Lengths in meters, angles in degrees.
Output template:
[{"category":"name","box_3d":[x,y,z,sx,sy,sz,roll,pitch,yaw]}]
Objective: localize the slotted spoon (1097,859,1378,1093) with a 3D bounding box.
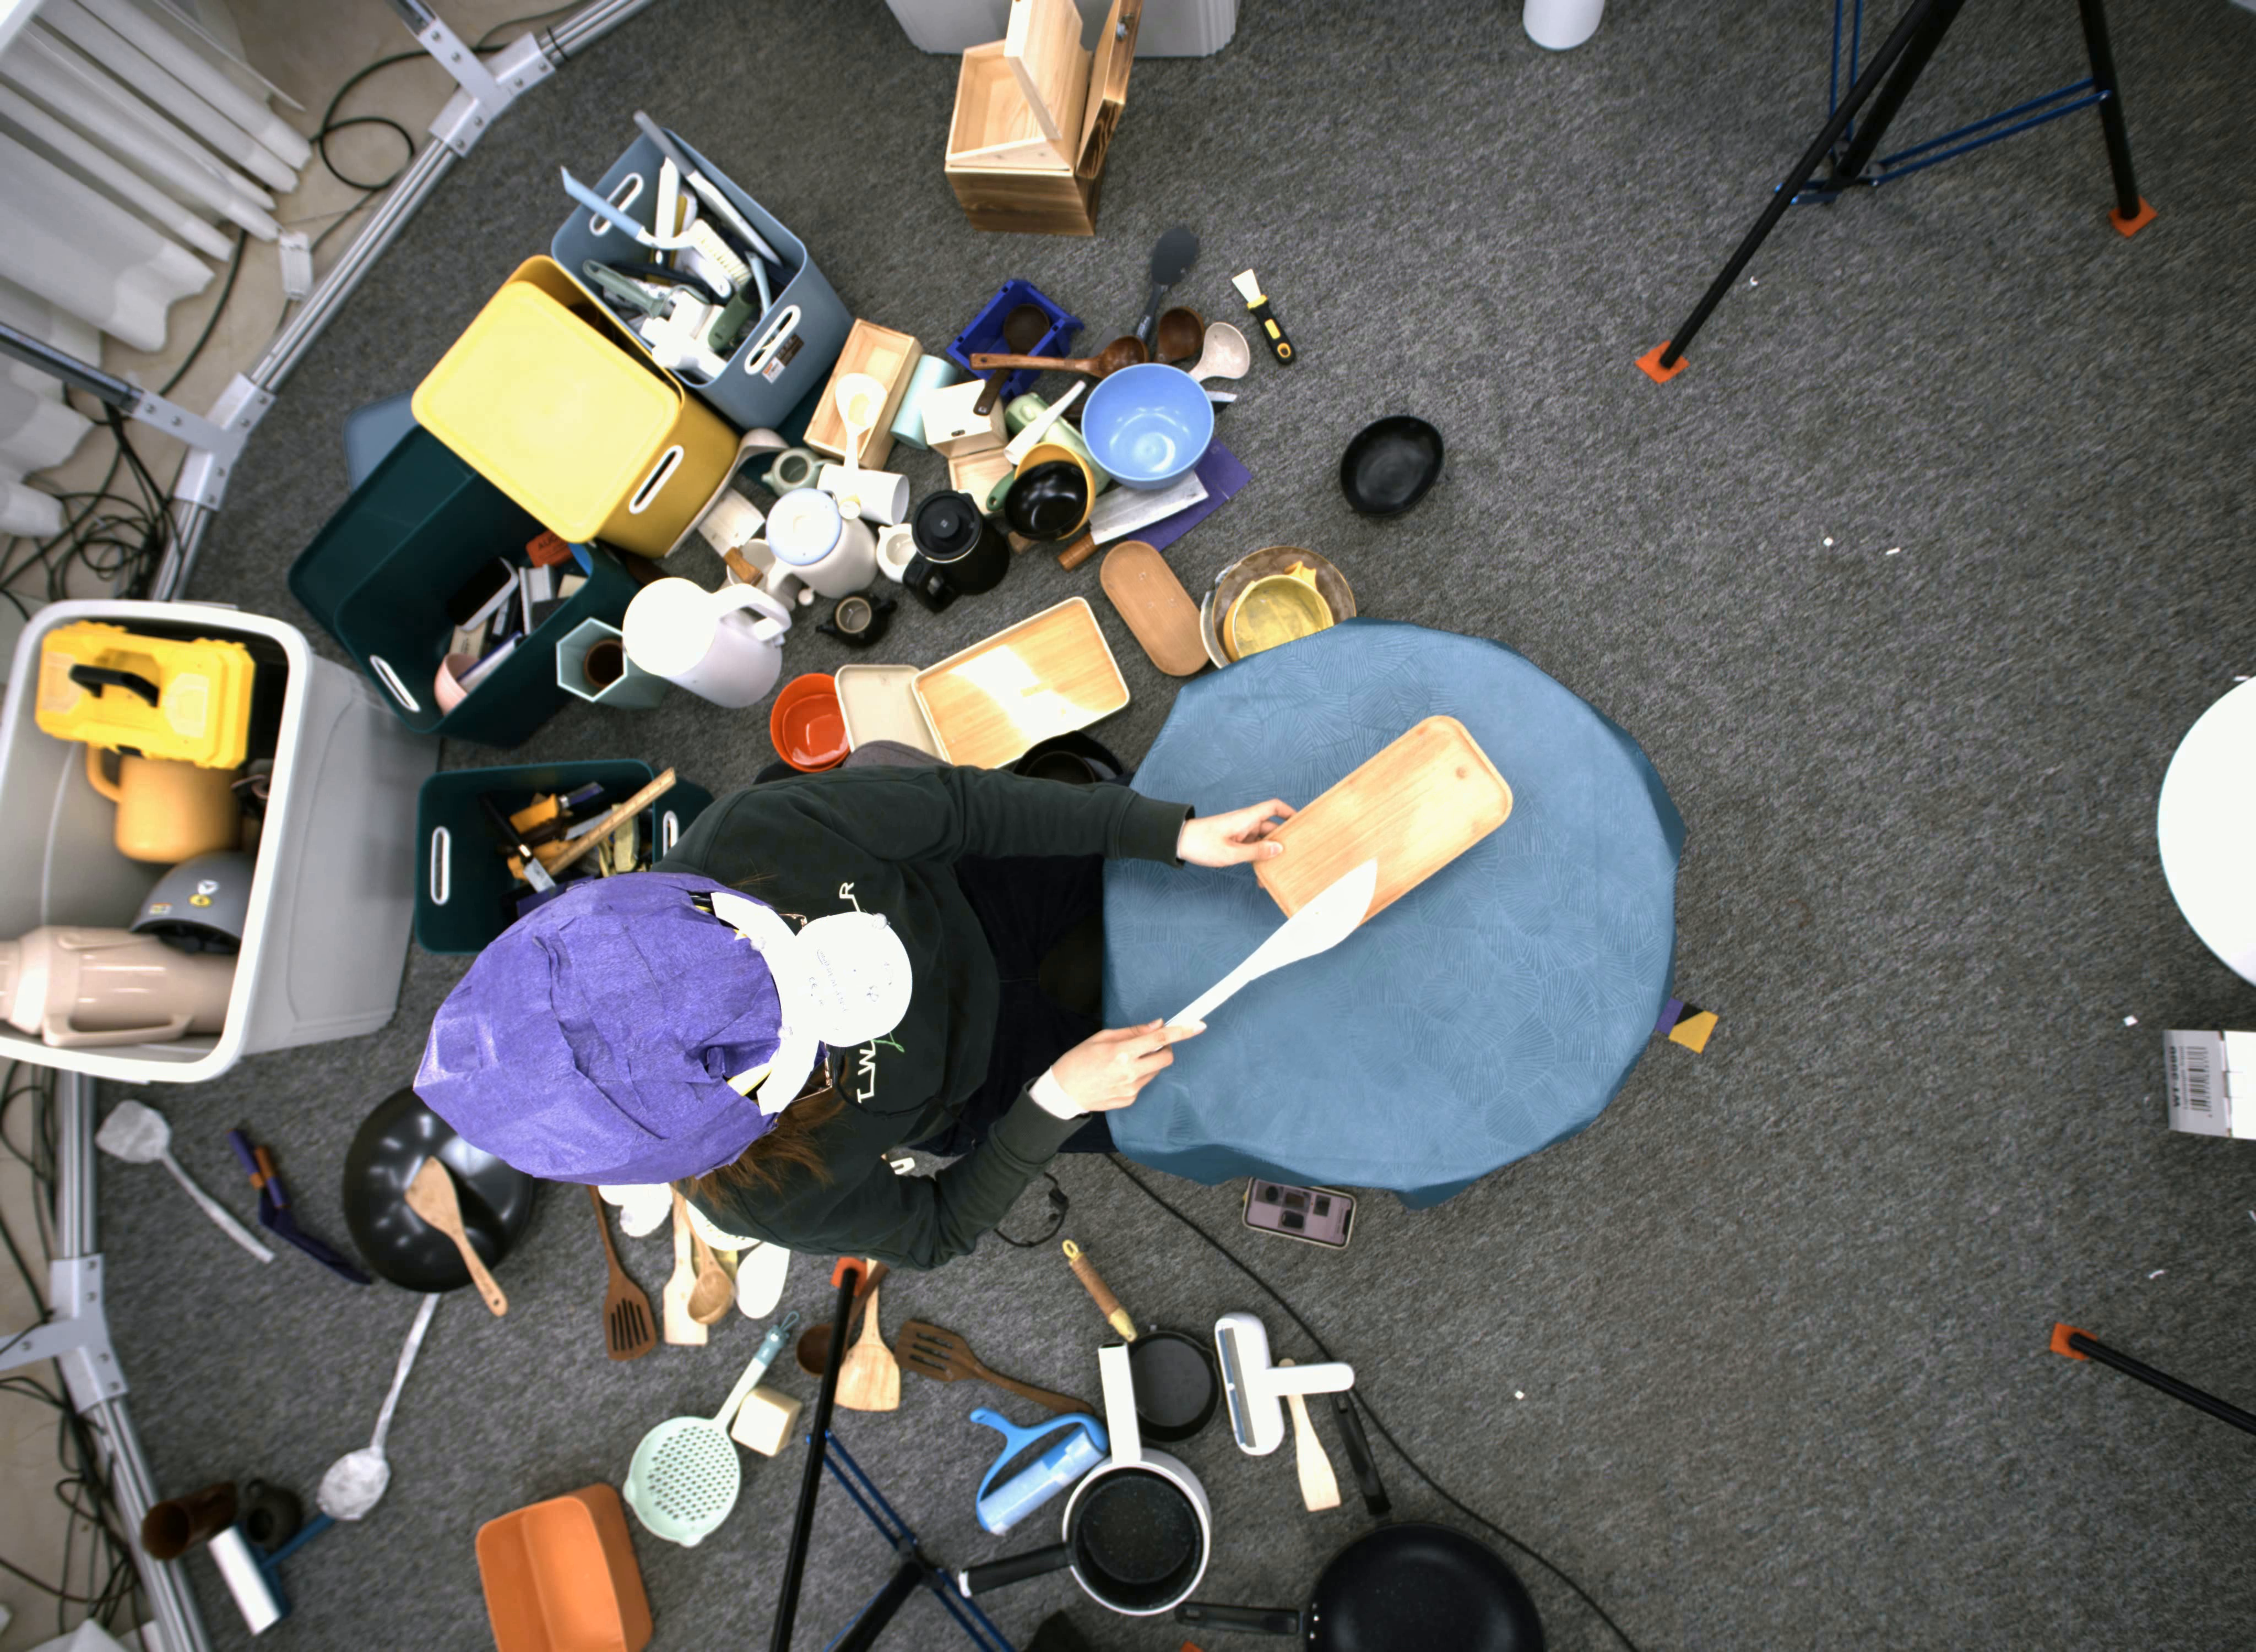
[{"category":"slotted spoon","box_3d":[0.105,0.148,1.339,0.353,0.135,0.045,-35,87,12]}]

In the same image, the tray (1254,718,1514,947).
[{"category":"tray","box_3d":[0.252,0.006,1.366,0.253,0.022,0.130,-37,88,13]}]
